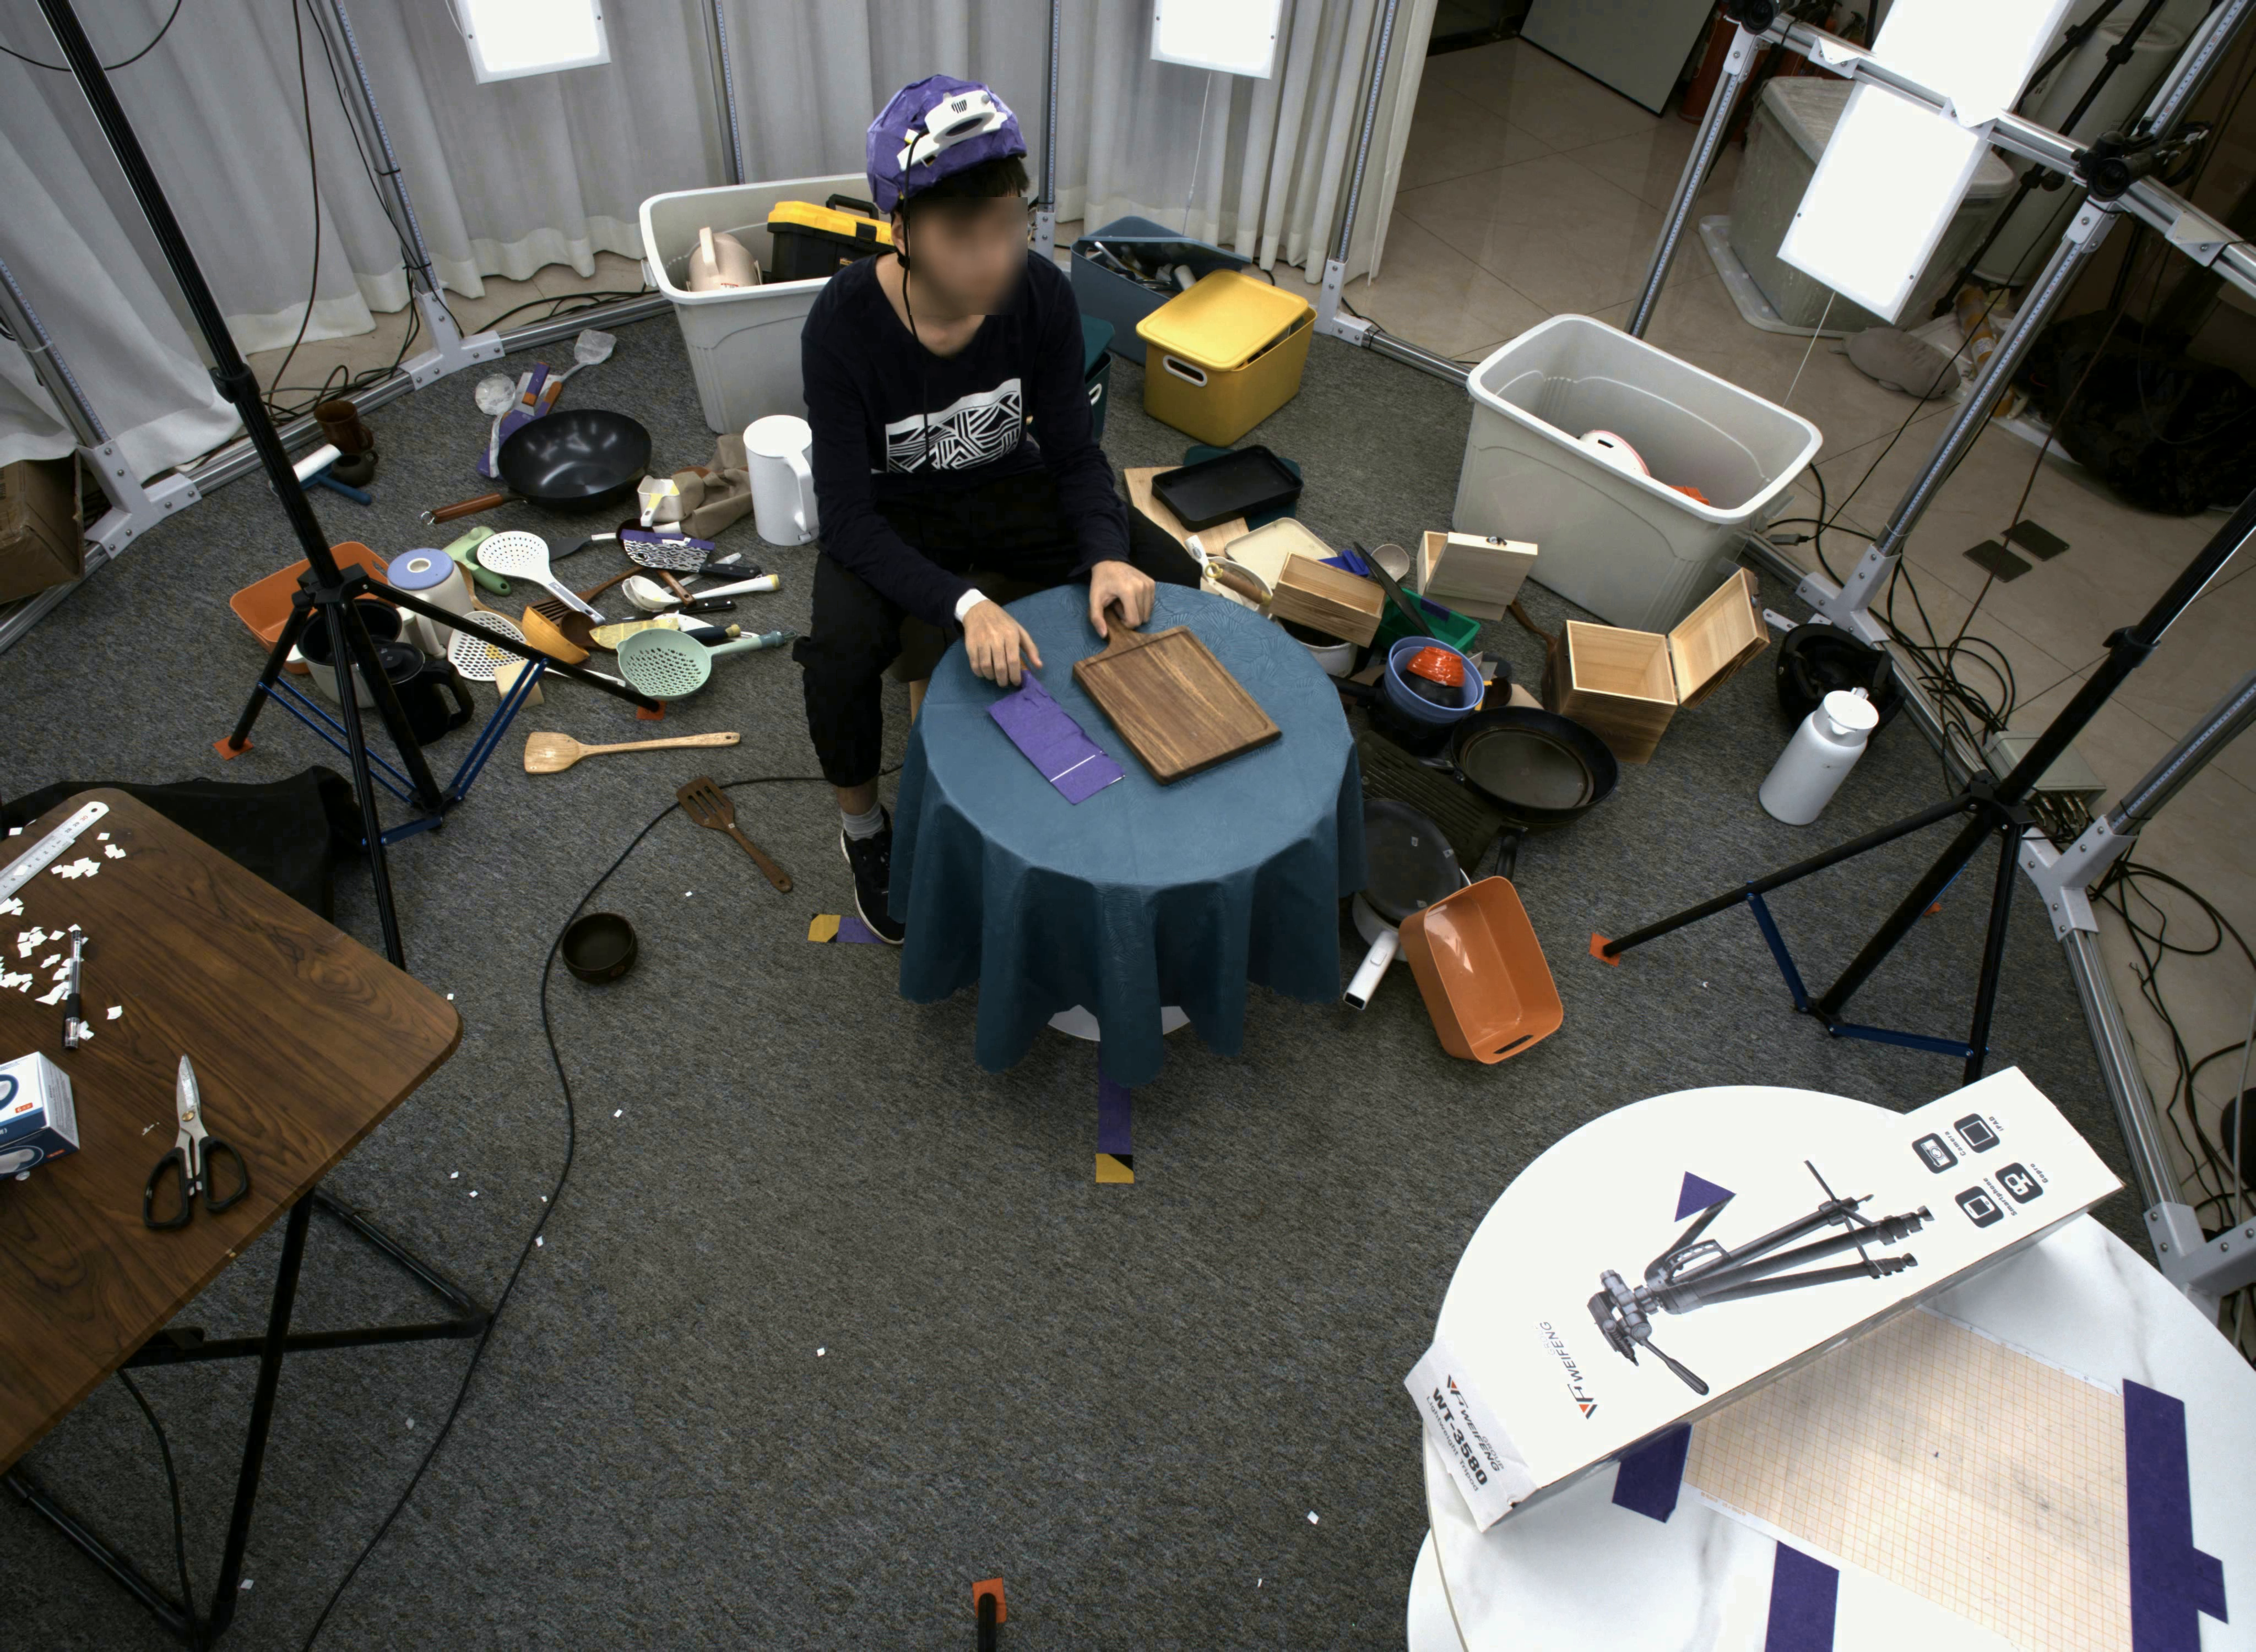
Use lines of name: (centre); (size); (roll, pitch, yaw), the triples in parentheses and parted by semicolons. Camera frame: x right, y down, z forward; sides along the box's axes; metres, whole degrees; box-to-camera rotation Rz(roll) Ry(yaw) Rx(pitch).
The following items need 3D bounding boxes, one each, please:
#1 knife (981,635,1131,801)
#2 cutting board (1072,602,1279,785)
knife: (-0.129, -0.154, 1.774); (0.104, 0.031, 0.321); (-29, 57, -25)
cutting board: (0.040, -0.212, 1.840); (0.201, 0.022, 0.359); (-22, 54, -21)
